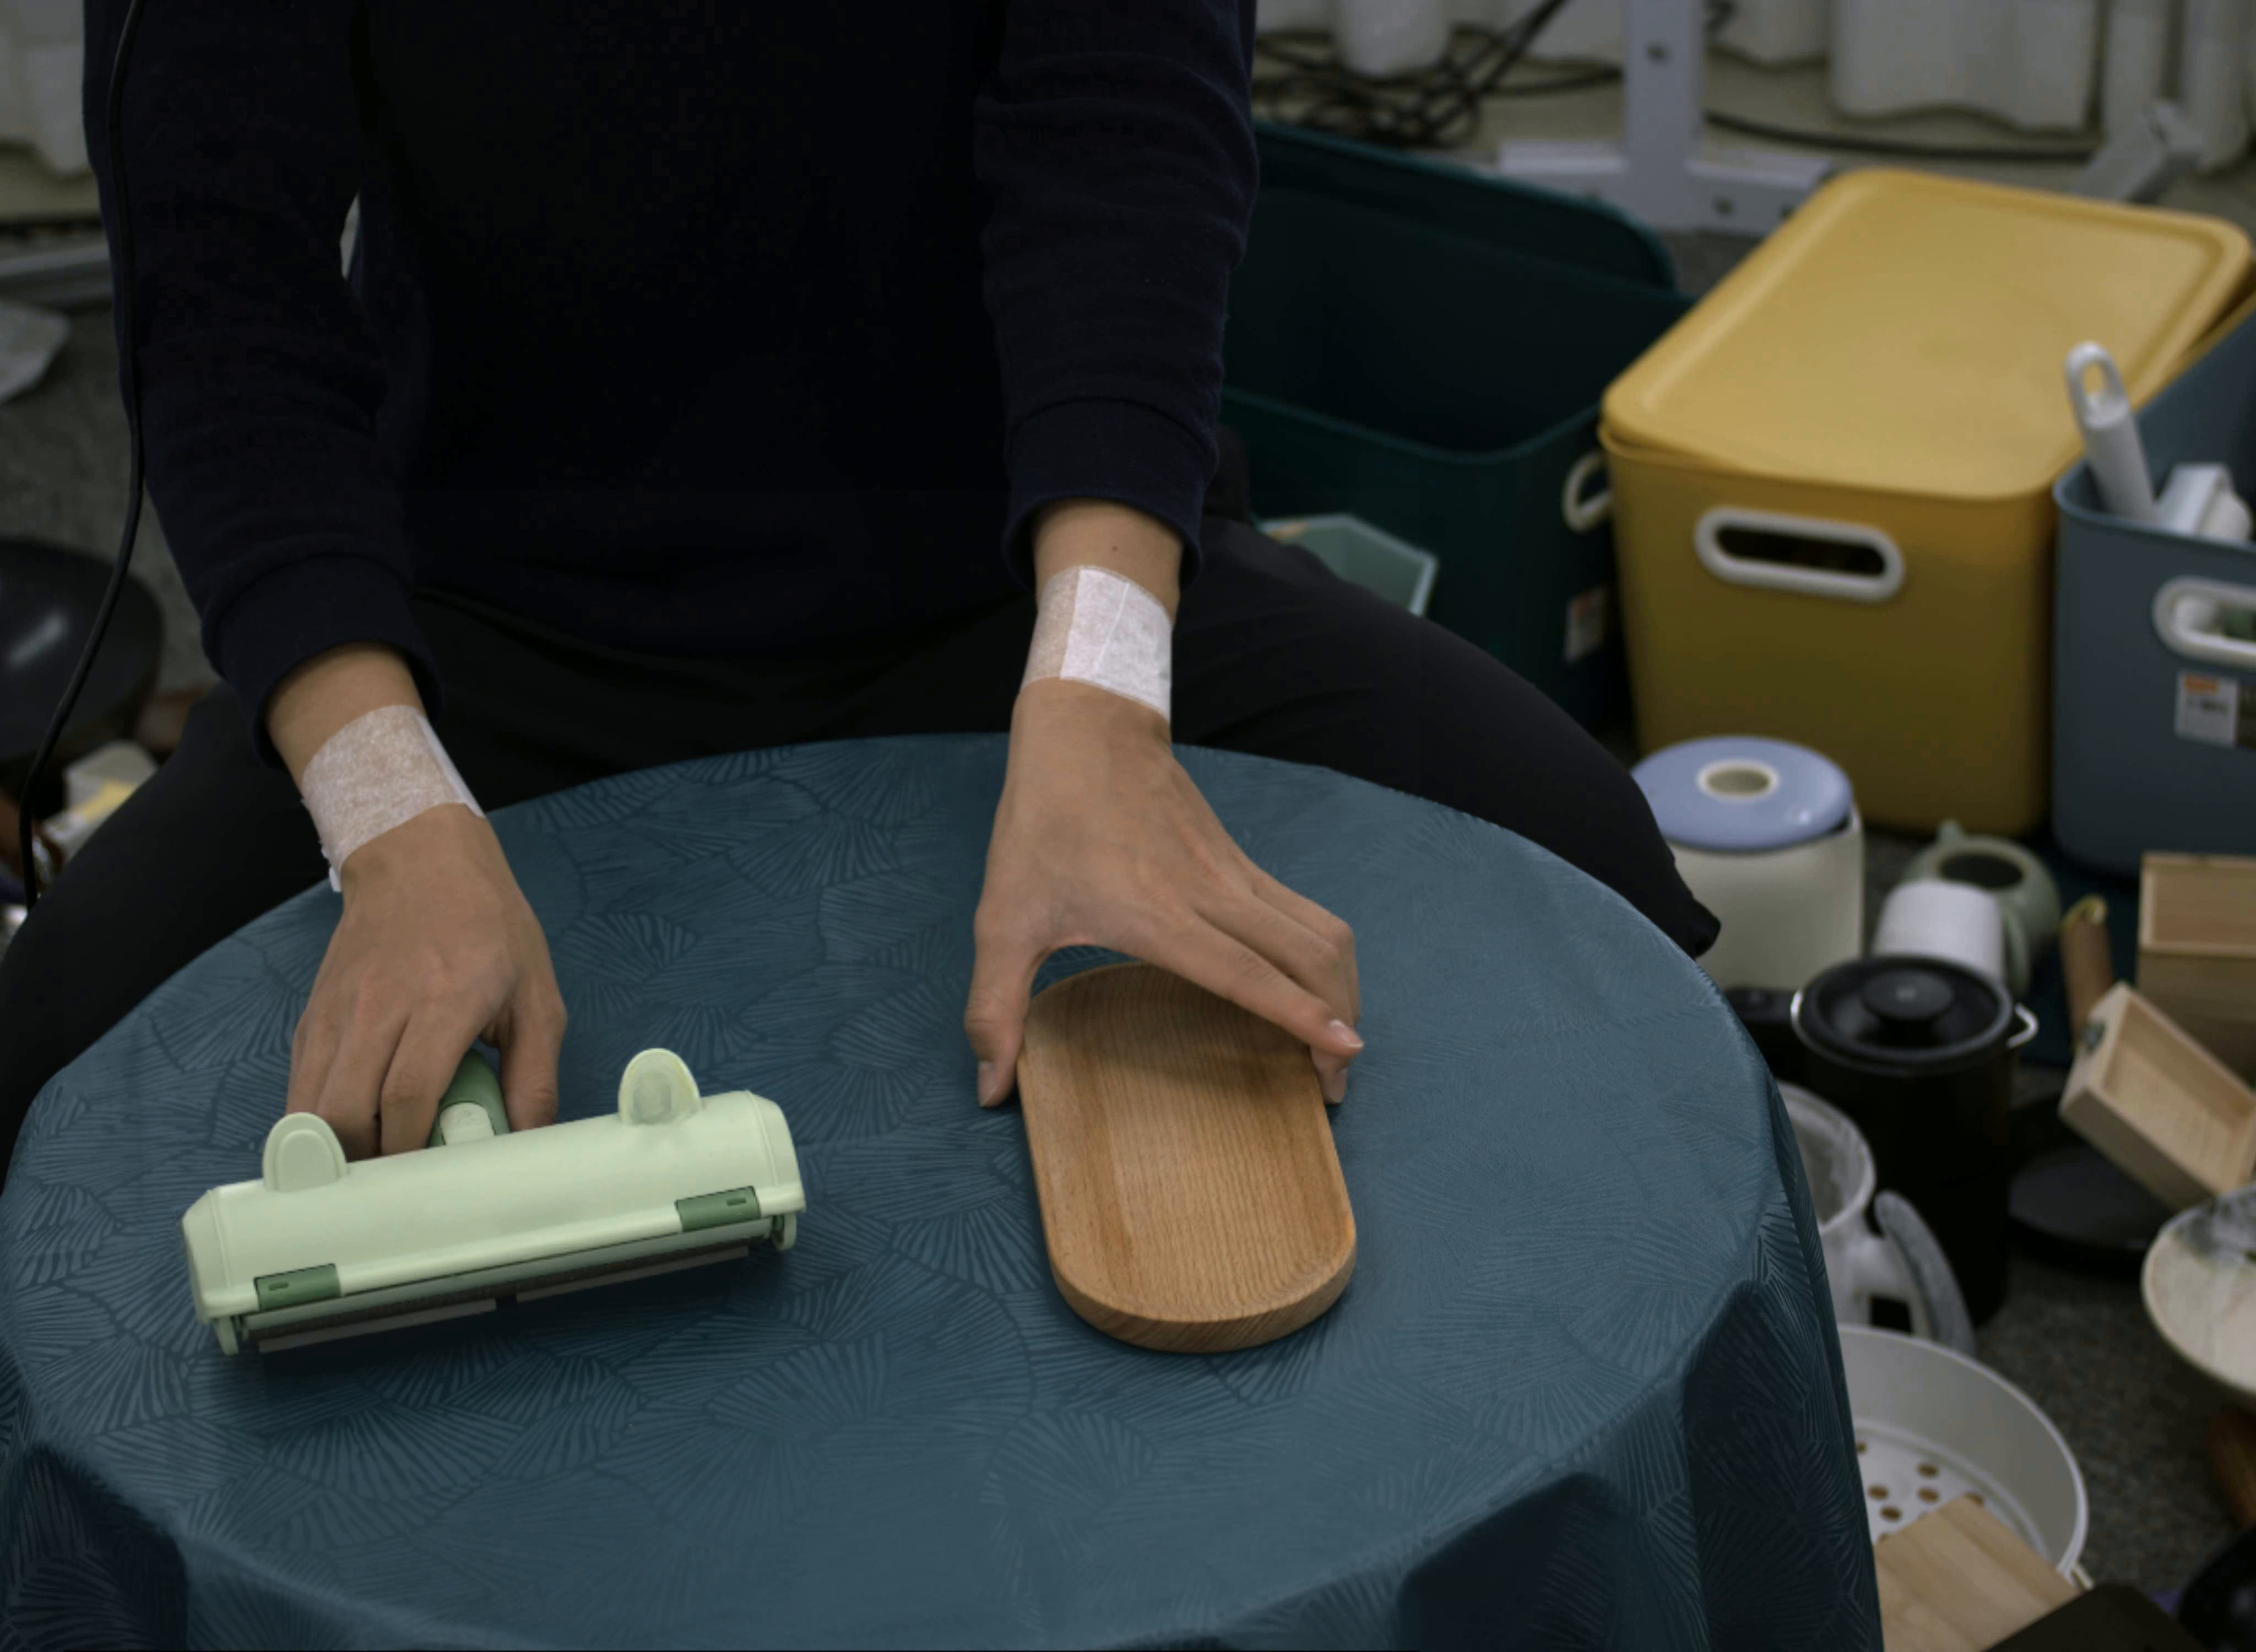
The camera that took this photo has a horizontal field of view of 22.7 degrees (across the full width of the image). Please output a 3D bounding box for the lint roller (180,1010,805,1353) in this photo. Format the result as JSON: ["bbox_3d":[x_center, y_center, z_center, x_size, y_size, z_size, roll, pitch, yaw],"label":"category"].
[{"bbox_3d":[-0.220,0.092,1.848,0.199,0.081,0.185,-10,34,-14],"label":"lint roller"}]

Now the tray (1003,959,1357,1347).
[{"bbox_3d":[0.016,0.106,1.872,0.101,0.020,0.234,-5,26,-6],"label":"tray"}]
